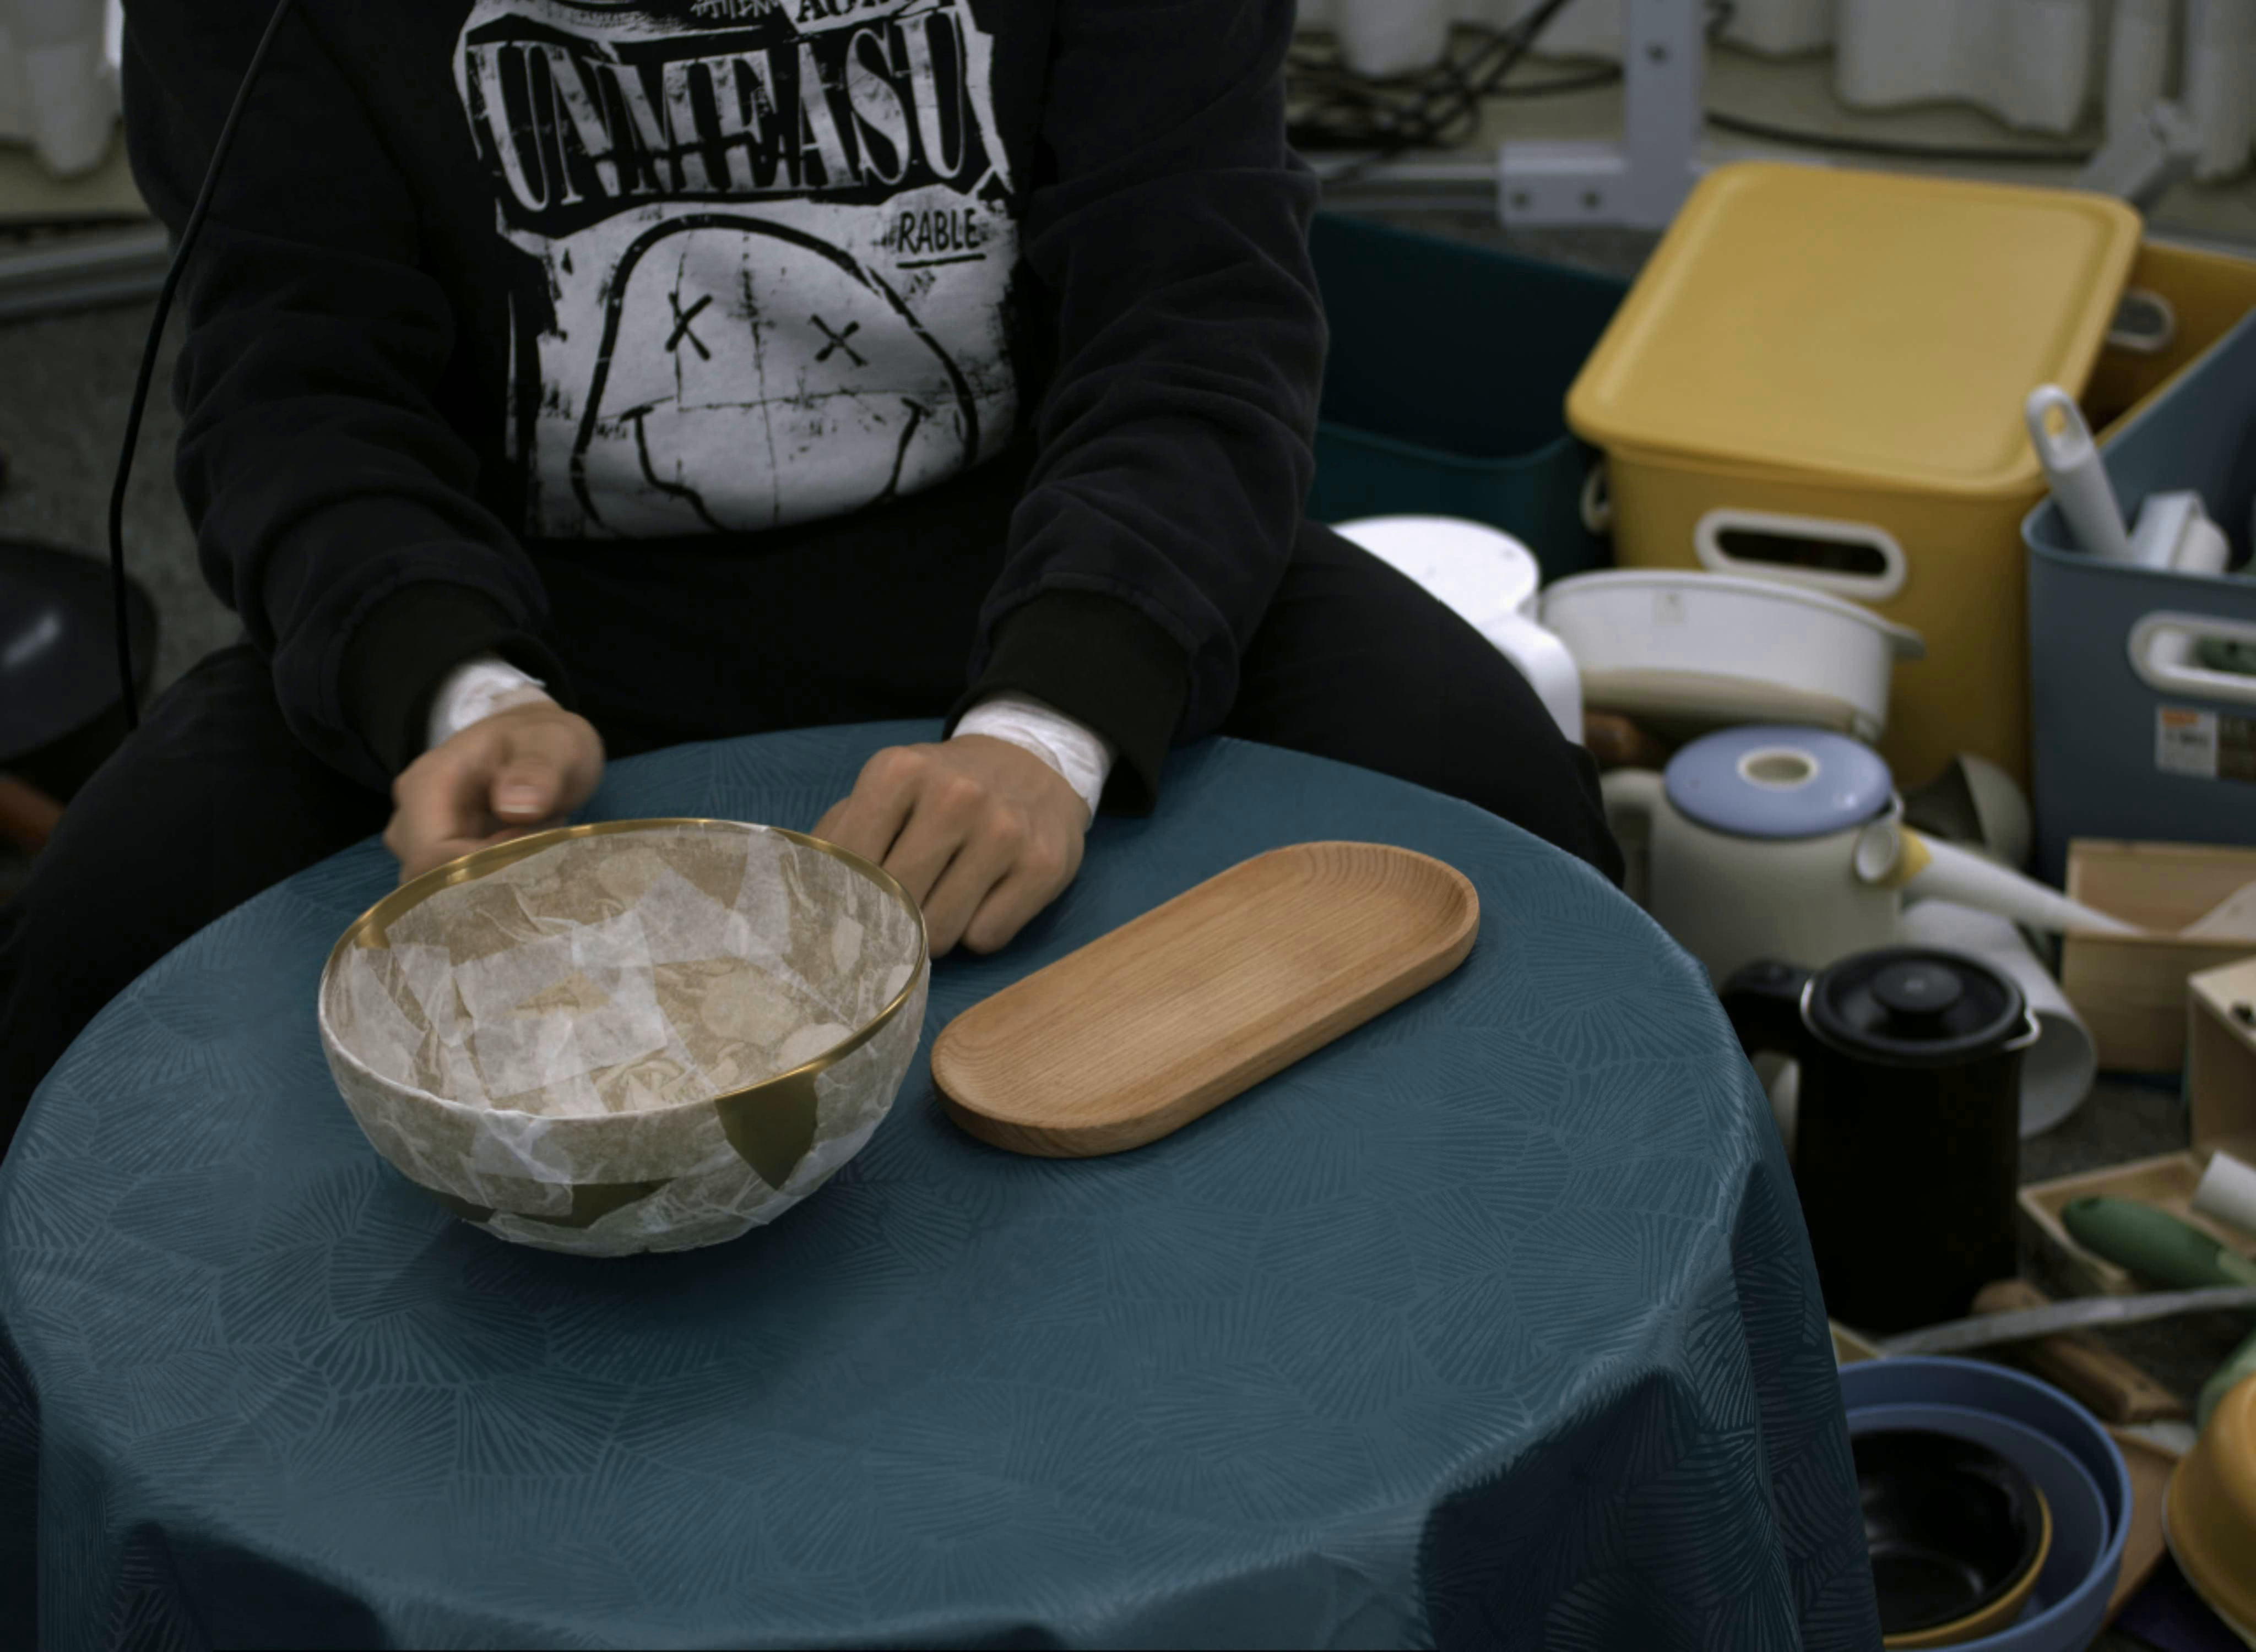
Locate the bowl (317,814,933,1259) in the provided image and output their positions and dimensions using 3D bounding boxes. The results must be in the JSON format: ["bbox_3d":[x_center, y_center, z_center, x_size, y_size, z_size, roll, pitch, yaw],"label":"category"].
[{"bbox_3d":[-0.158,0.081,1.855,0.213,0.093,0.218,-3,27,2],"label":"bowl"}]

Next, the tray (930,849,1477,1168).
[{"bbox_3d":[0.028,0.062,1.957,0.101,0.020,0.234,19,36,40],"label":"tray"}]
